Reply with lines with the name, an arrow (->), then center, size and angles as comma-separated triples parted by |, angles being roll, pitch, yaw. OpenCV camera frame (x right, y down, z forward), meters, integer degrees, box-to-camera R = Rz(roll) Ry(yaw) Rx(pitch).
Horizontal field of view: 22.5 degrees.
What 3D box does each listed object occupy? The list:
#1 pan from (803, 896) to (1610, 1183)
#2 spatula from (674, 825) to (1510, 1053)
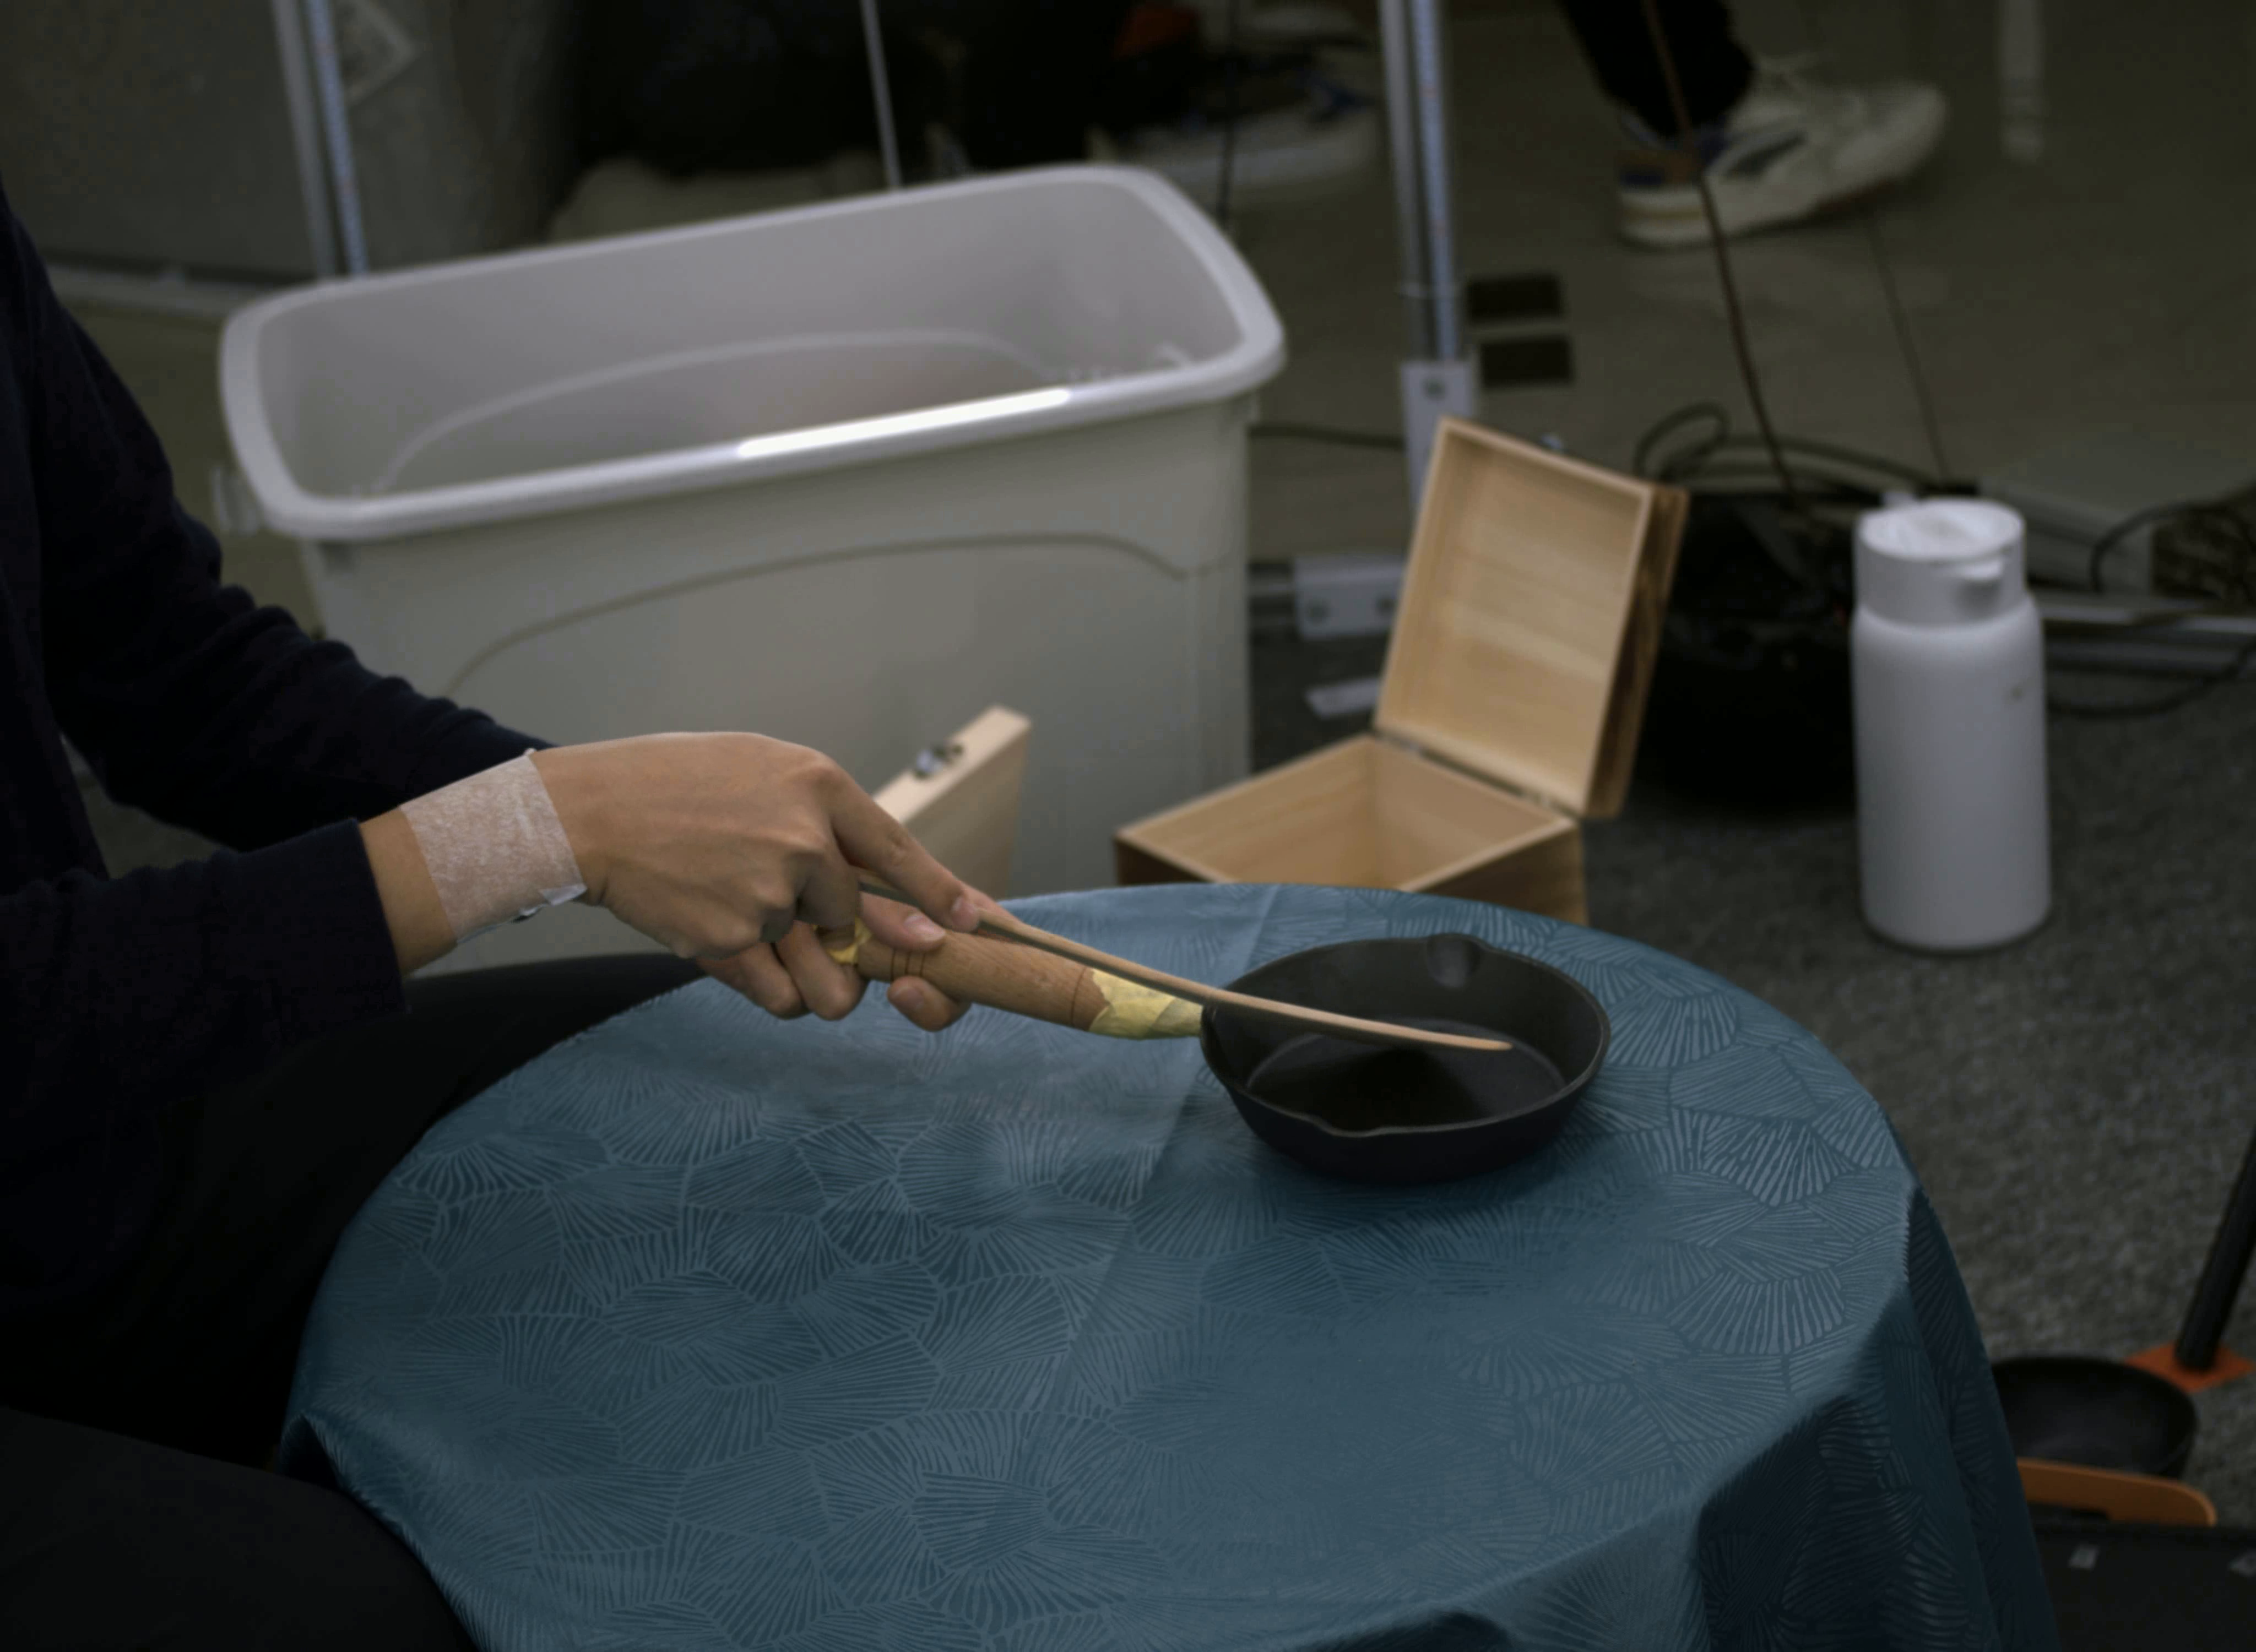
pan -> 0.027, 0.074, 2.194 | 0.323, 0.050, 0.166 | 9, 29, 18
spatula -> -0.016, 0.045, 2.138 | 0.328, 0.016, 0.080 | 18, -9, -16
